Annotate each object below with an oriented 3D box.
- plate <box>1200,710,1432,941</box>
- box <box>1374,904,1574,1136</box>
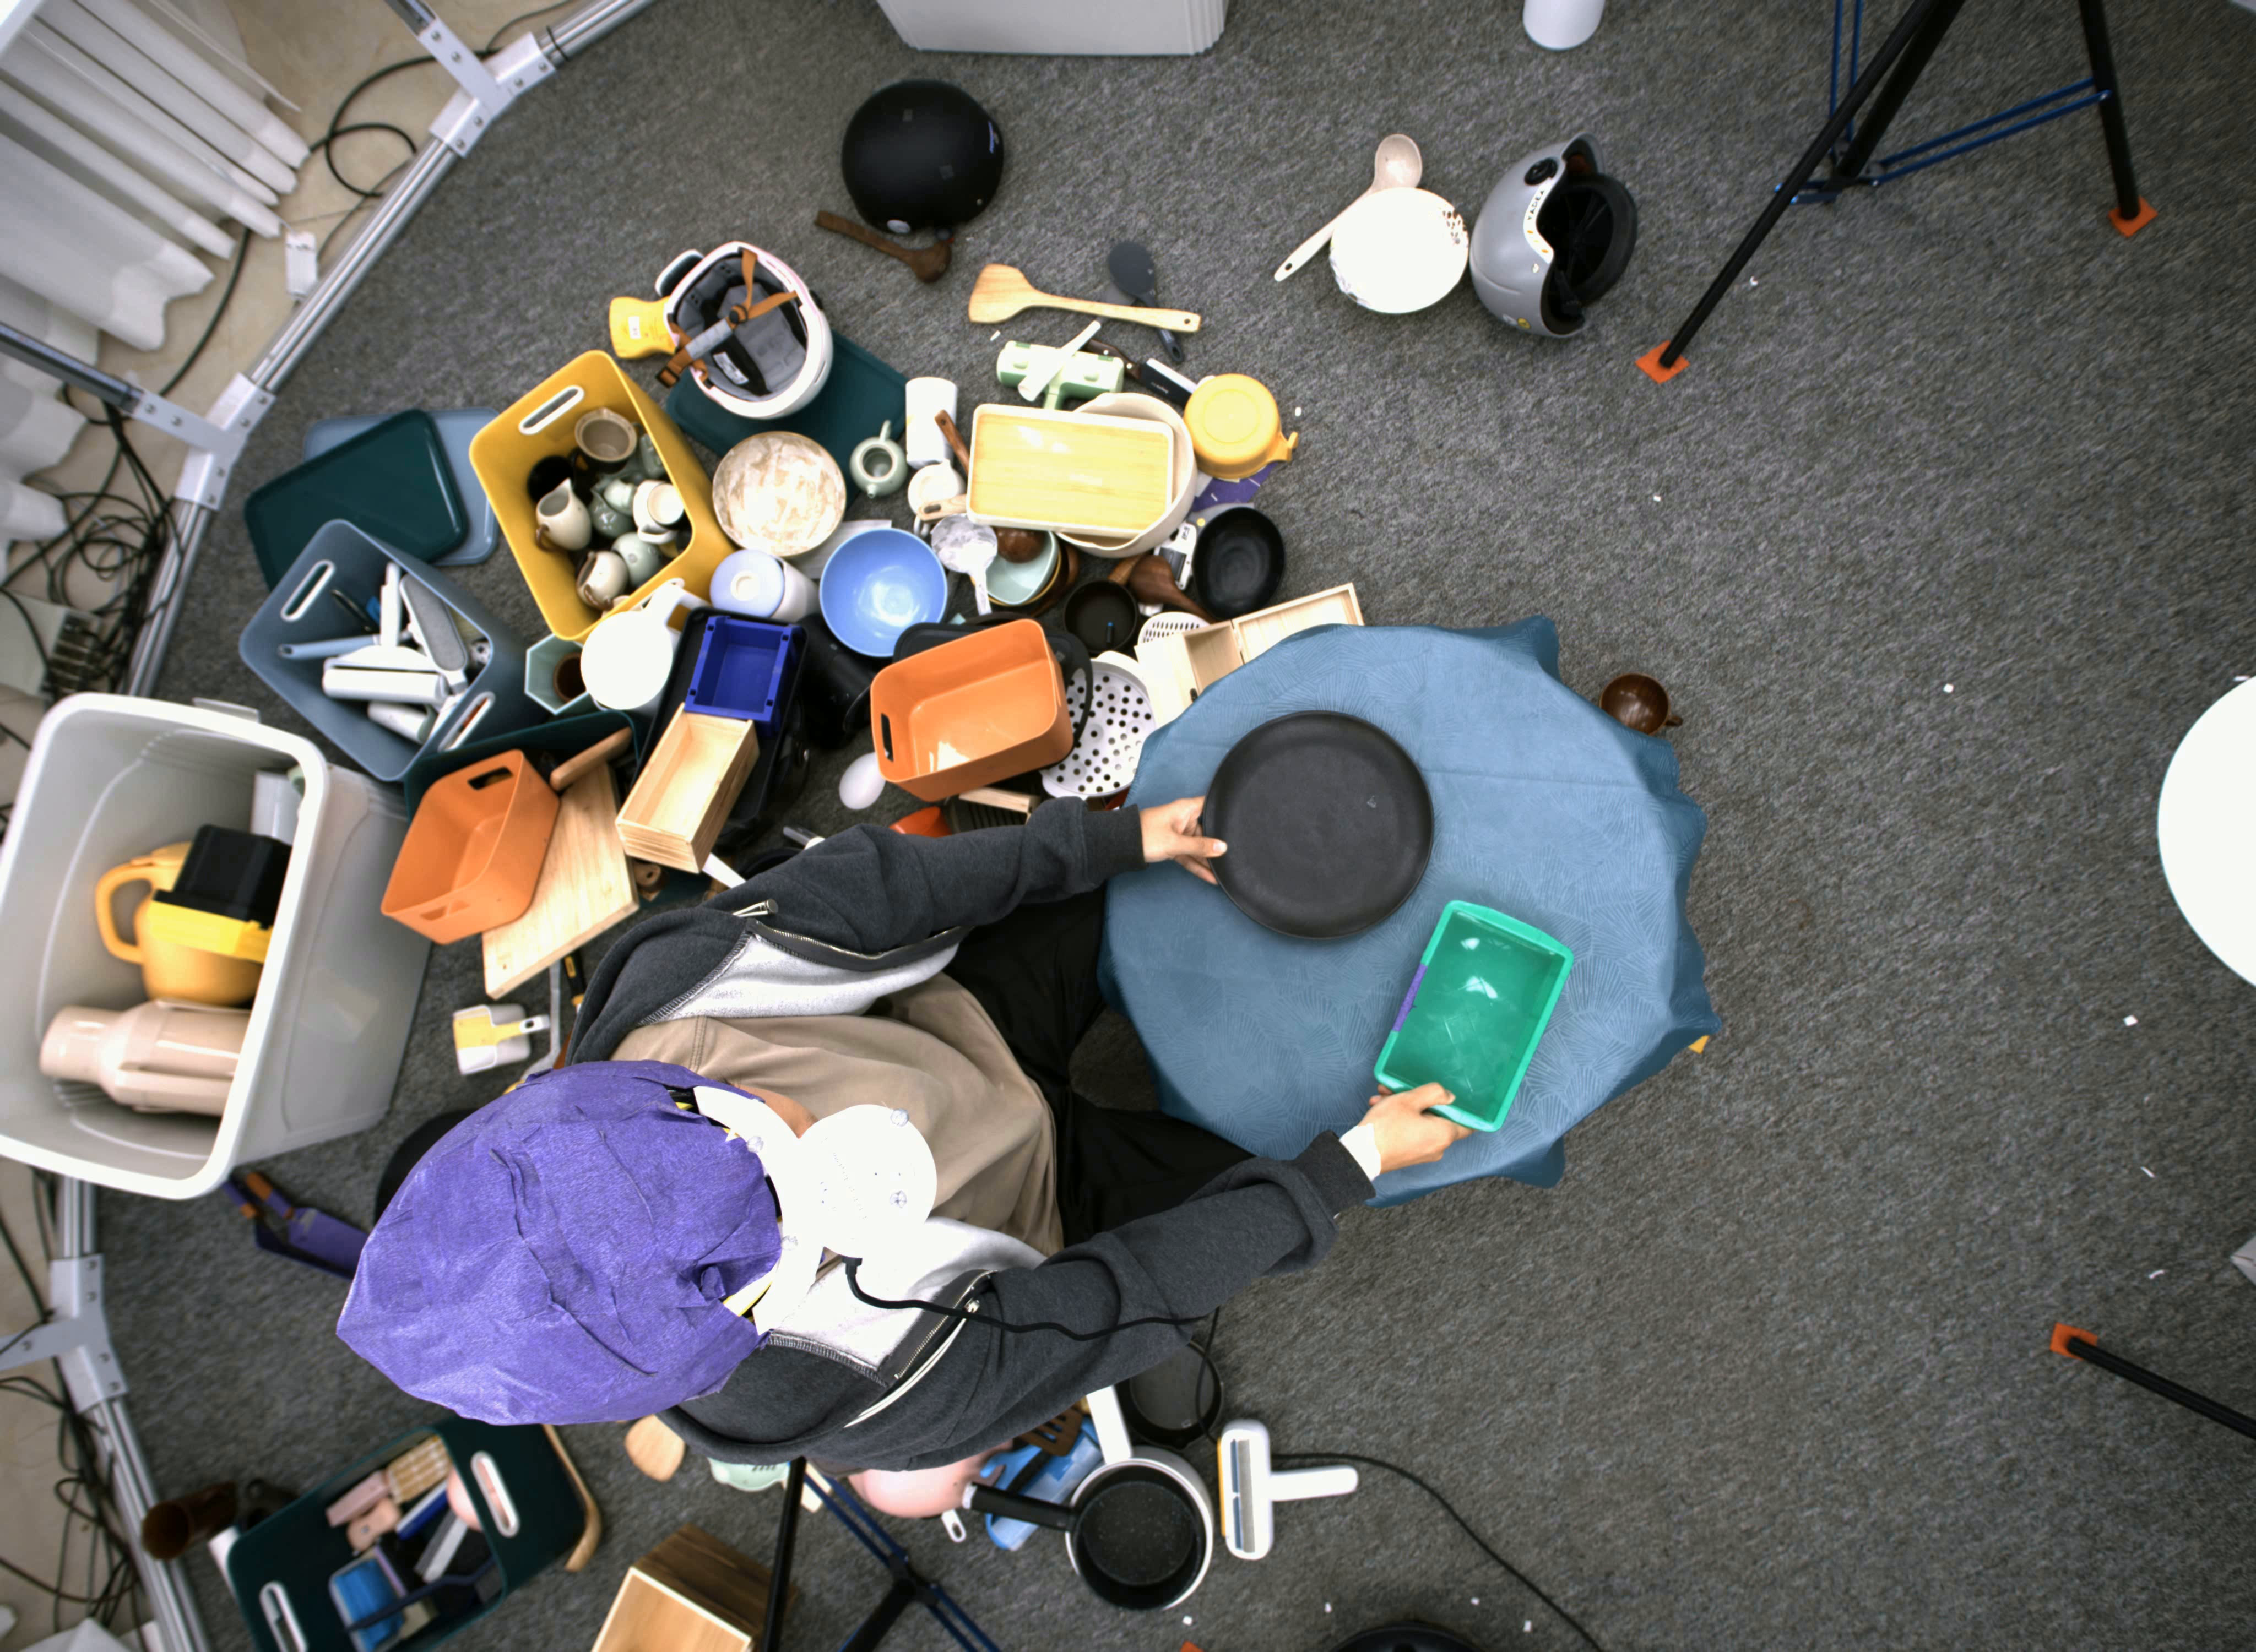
[{"bbox_3d":[0.198,-0.001,1.458,0.245,0.023,0.243,0,87,6],"label":"plate"},{"bbox_3d":[0.348,0.192,1.401,0.138,0.065,0.211,23,93,9],"label":"box"}]
